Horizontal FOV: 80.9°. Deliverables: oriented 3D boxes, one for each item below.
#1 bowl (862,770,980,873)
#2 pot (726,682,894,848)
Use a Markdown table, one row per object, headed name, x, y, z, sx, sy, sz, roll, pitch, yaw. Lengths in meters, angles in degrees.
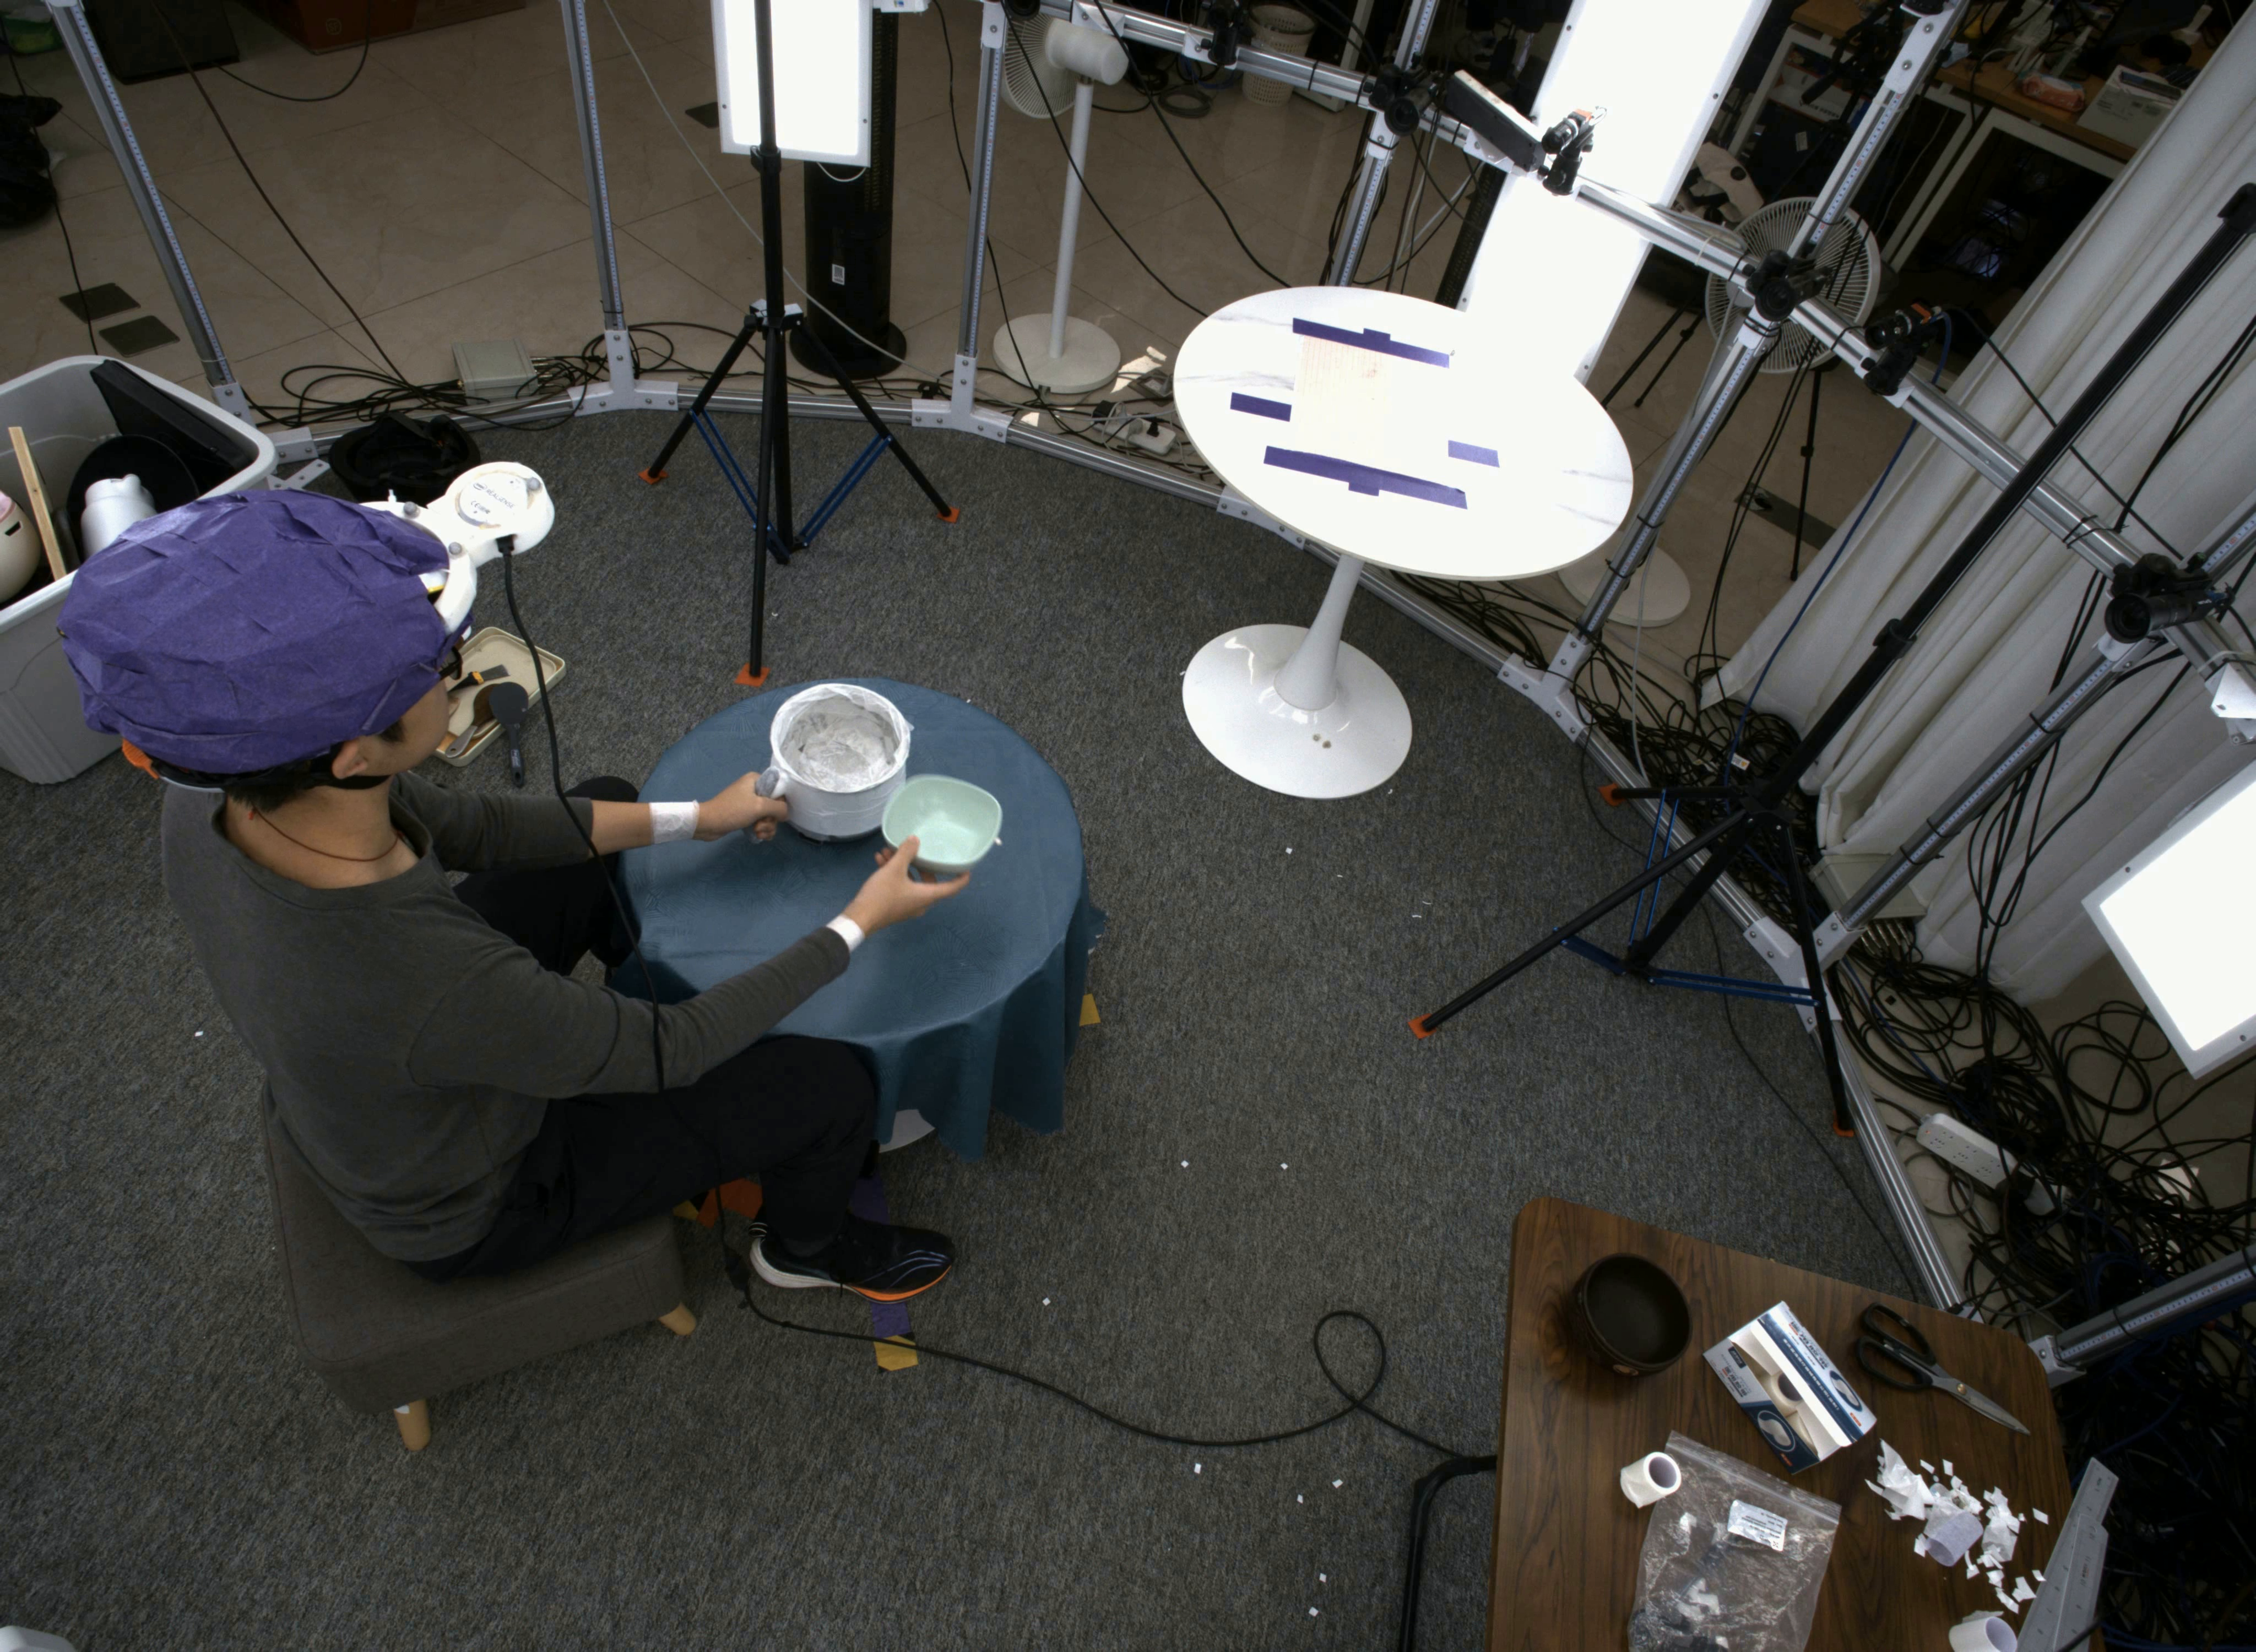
| name | x | y | z | sx | sy | sz | roll | pitch | yaw |
| --- | --- | --- | --- | --- | --- | --- | --- | --- | --- |
| bowl | -0.256 | 0.003 | 1.601 | 0.151 | 0.060 | 0.148 | 10 | 47 | -9 |
| pot | -0.420 | -0.065 | 1.692 | 0.175 | 0.139 | 0.234 | 44 | 56 | 15 |
